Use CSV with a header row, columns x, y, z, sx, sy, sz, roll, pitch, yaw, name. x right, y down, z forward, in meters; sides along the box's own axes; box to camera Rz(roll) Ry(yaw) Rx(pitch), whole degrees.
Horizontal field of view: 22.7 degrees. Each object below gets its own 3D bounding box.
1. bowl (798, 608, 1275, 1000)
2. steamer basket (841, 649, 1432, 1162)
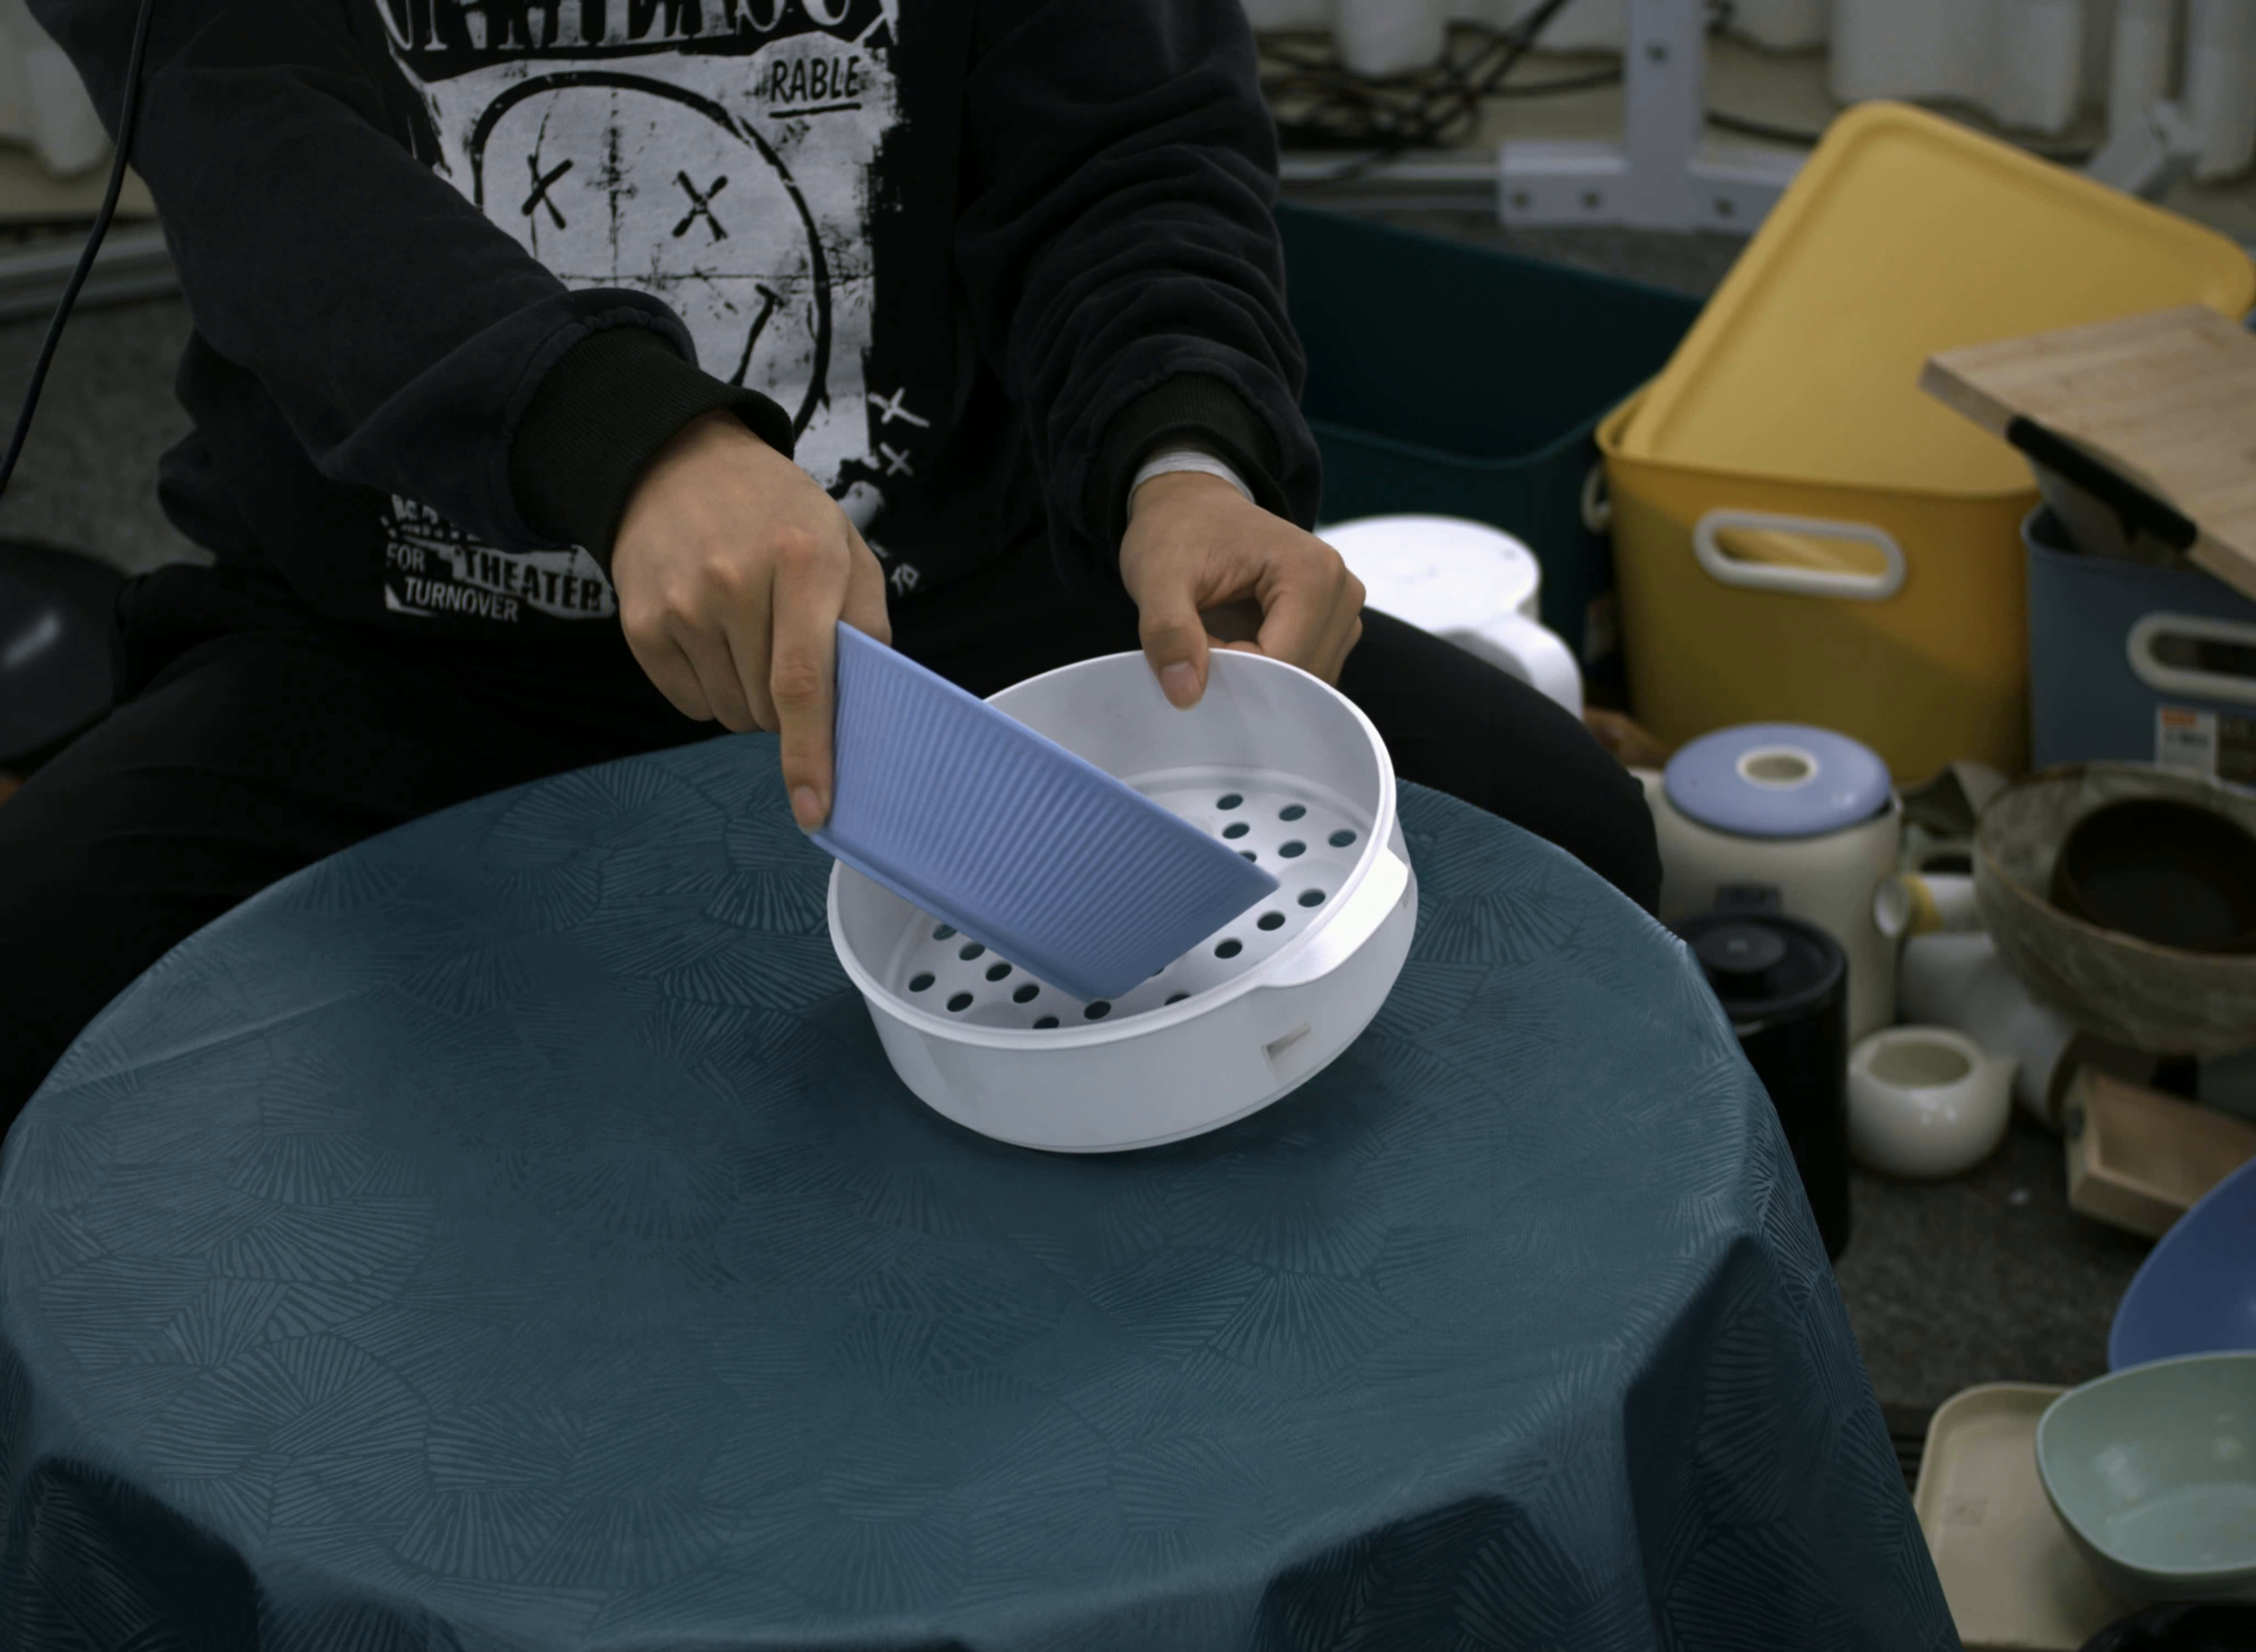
x,y,z,sx,sy,sz,roll,pitch,yaw,name
-0.043,0.001,1.849,0.176,0.070,0.175,31,-3,3,bowl
0.006,0.028,1.925,0.230,0.068,0.205,19,50,35,steamer basket
